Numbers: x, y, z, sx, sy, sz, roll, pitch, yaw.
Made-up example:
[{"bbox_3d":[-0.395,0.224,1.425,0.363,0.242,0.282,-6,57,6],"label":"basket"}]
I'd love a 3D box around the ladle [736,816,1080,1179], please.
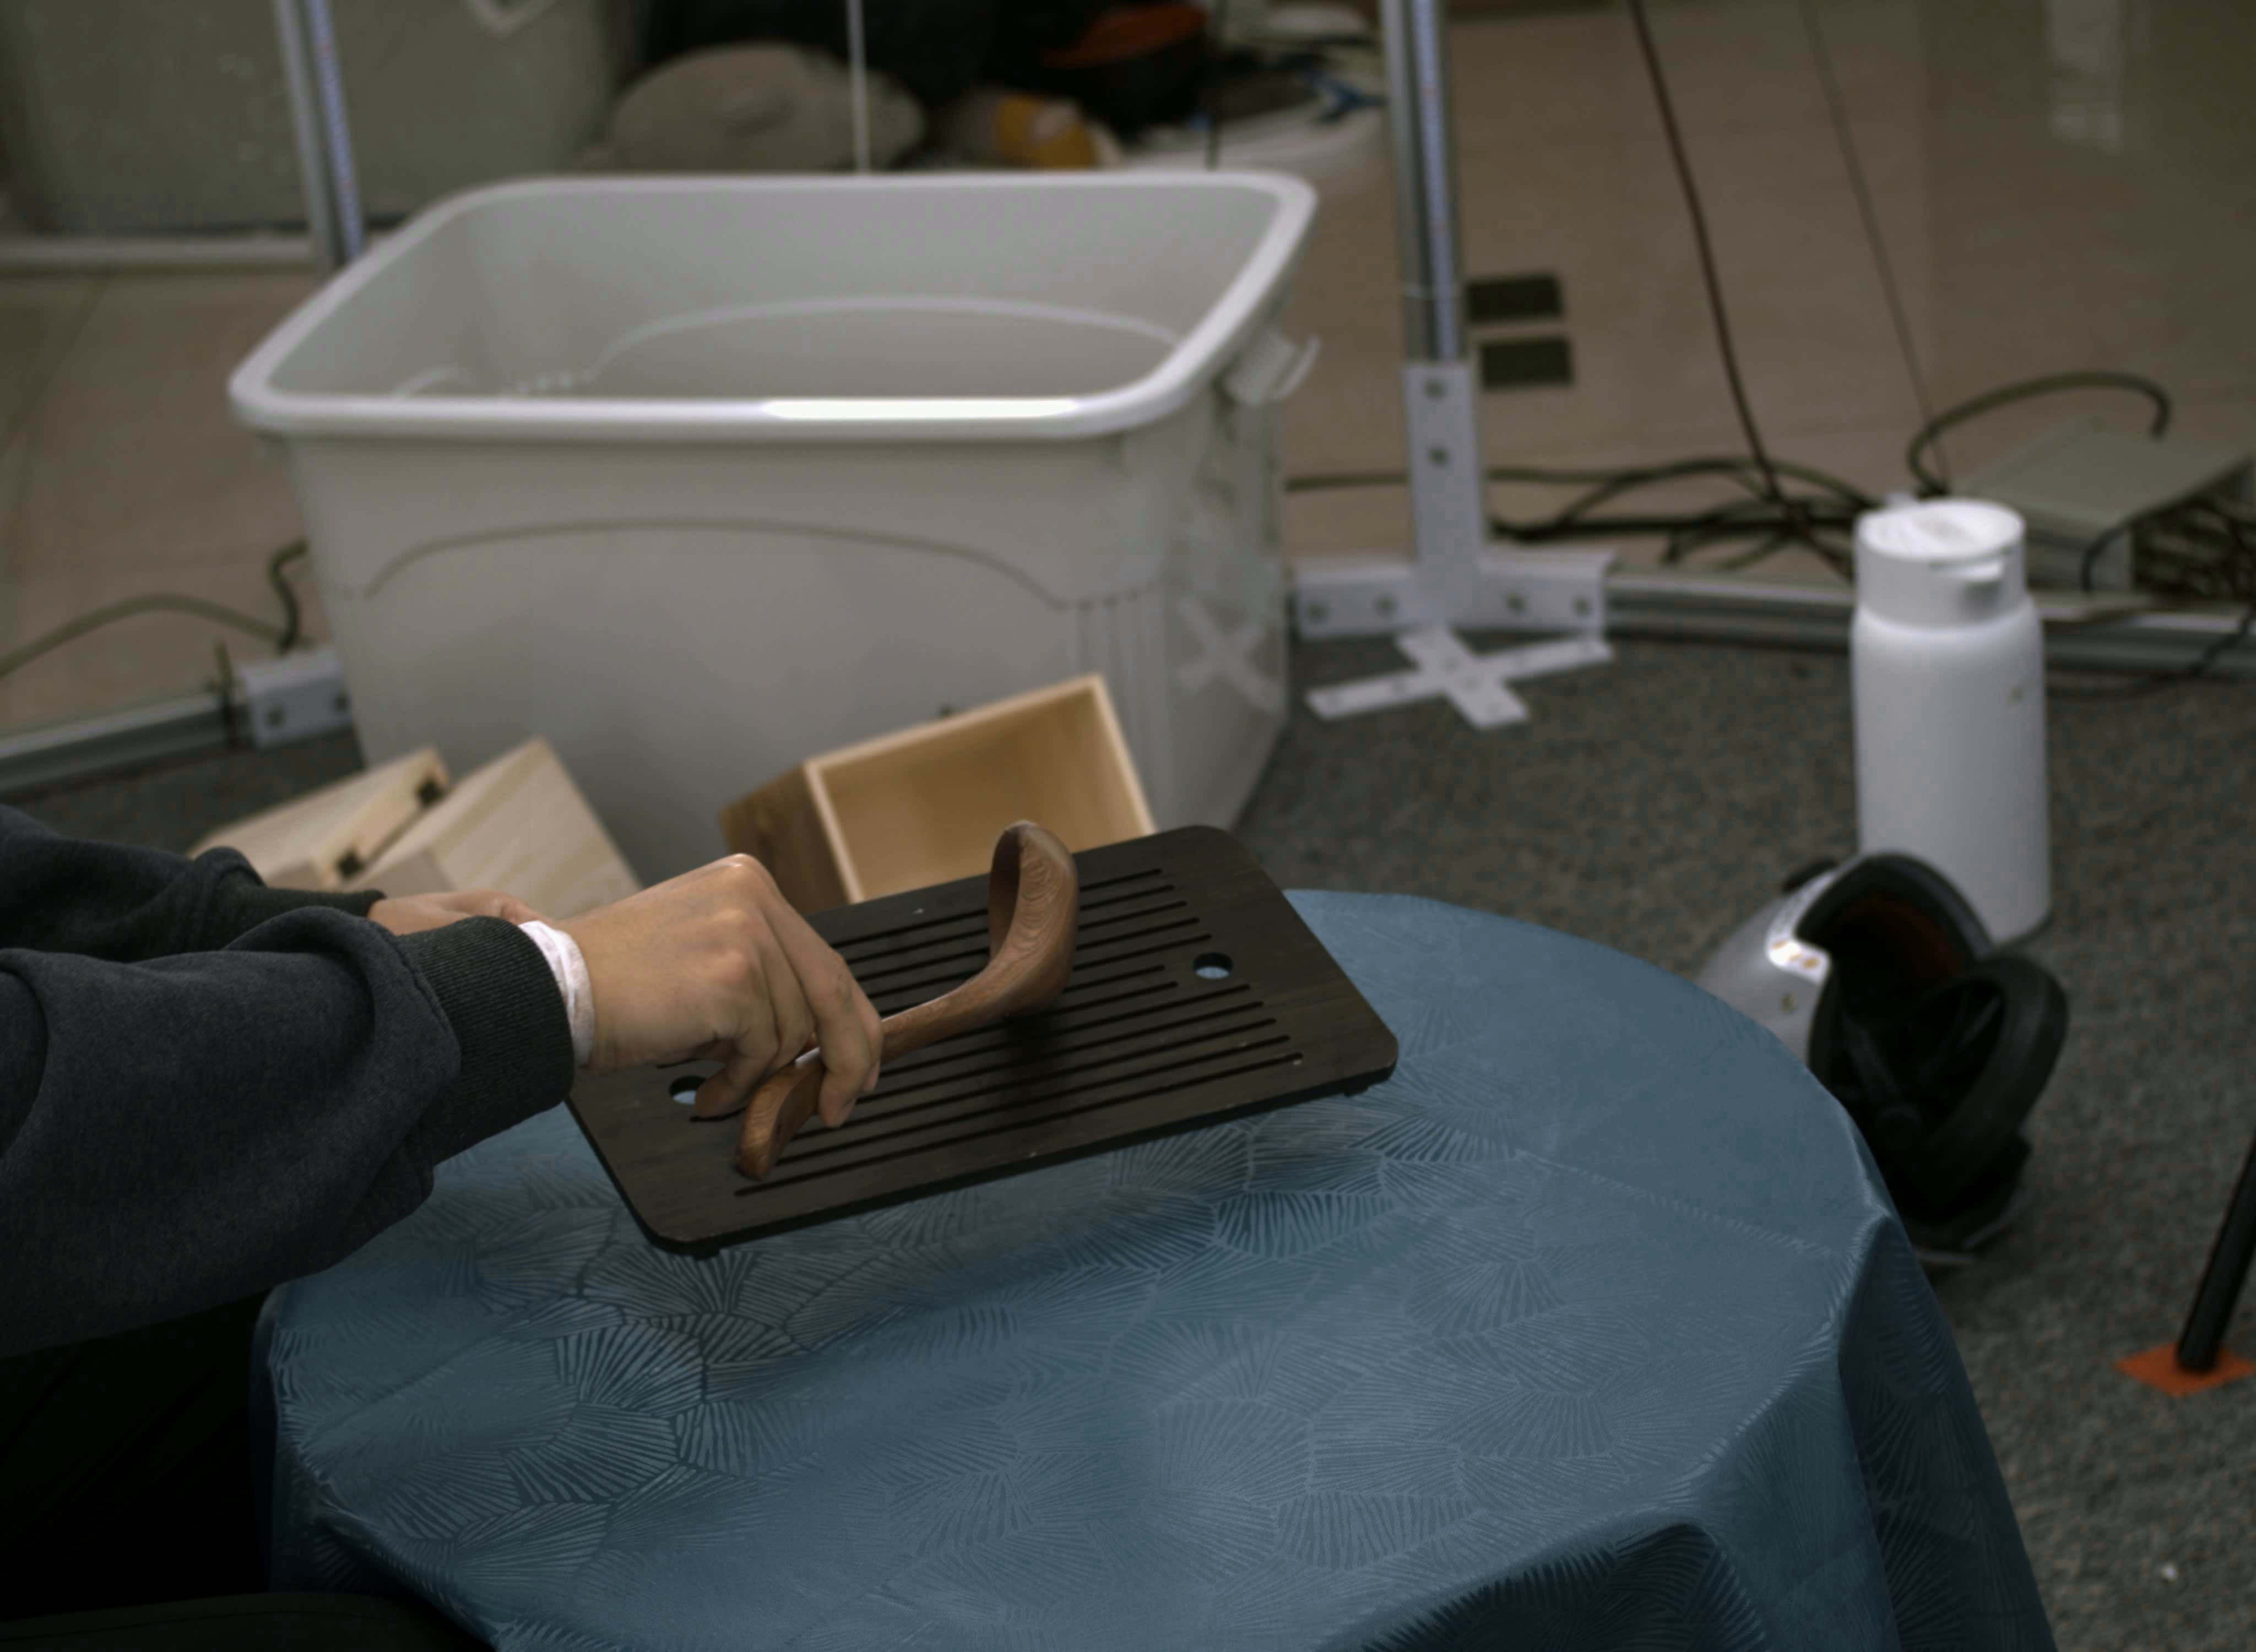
[{"bbox_3d":[-0.088,0.066,2.058,0.065,0.078,0.257,16,27,27],"label":"ladle"}]

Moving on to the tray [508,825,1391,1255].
[{"bbox_3d":[-0.068,0.080,2.150,0.305,0.019,0.167,-13,39,-21],"label":"tray"}]
